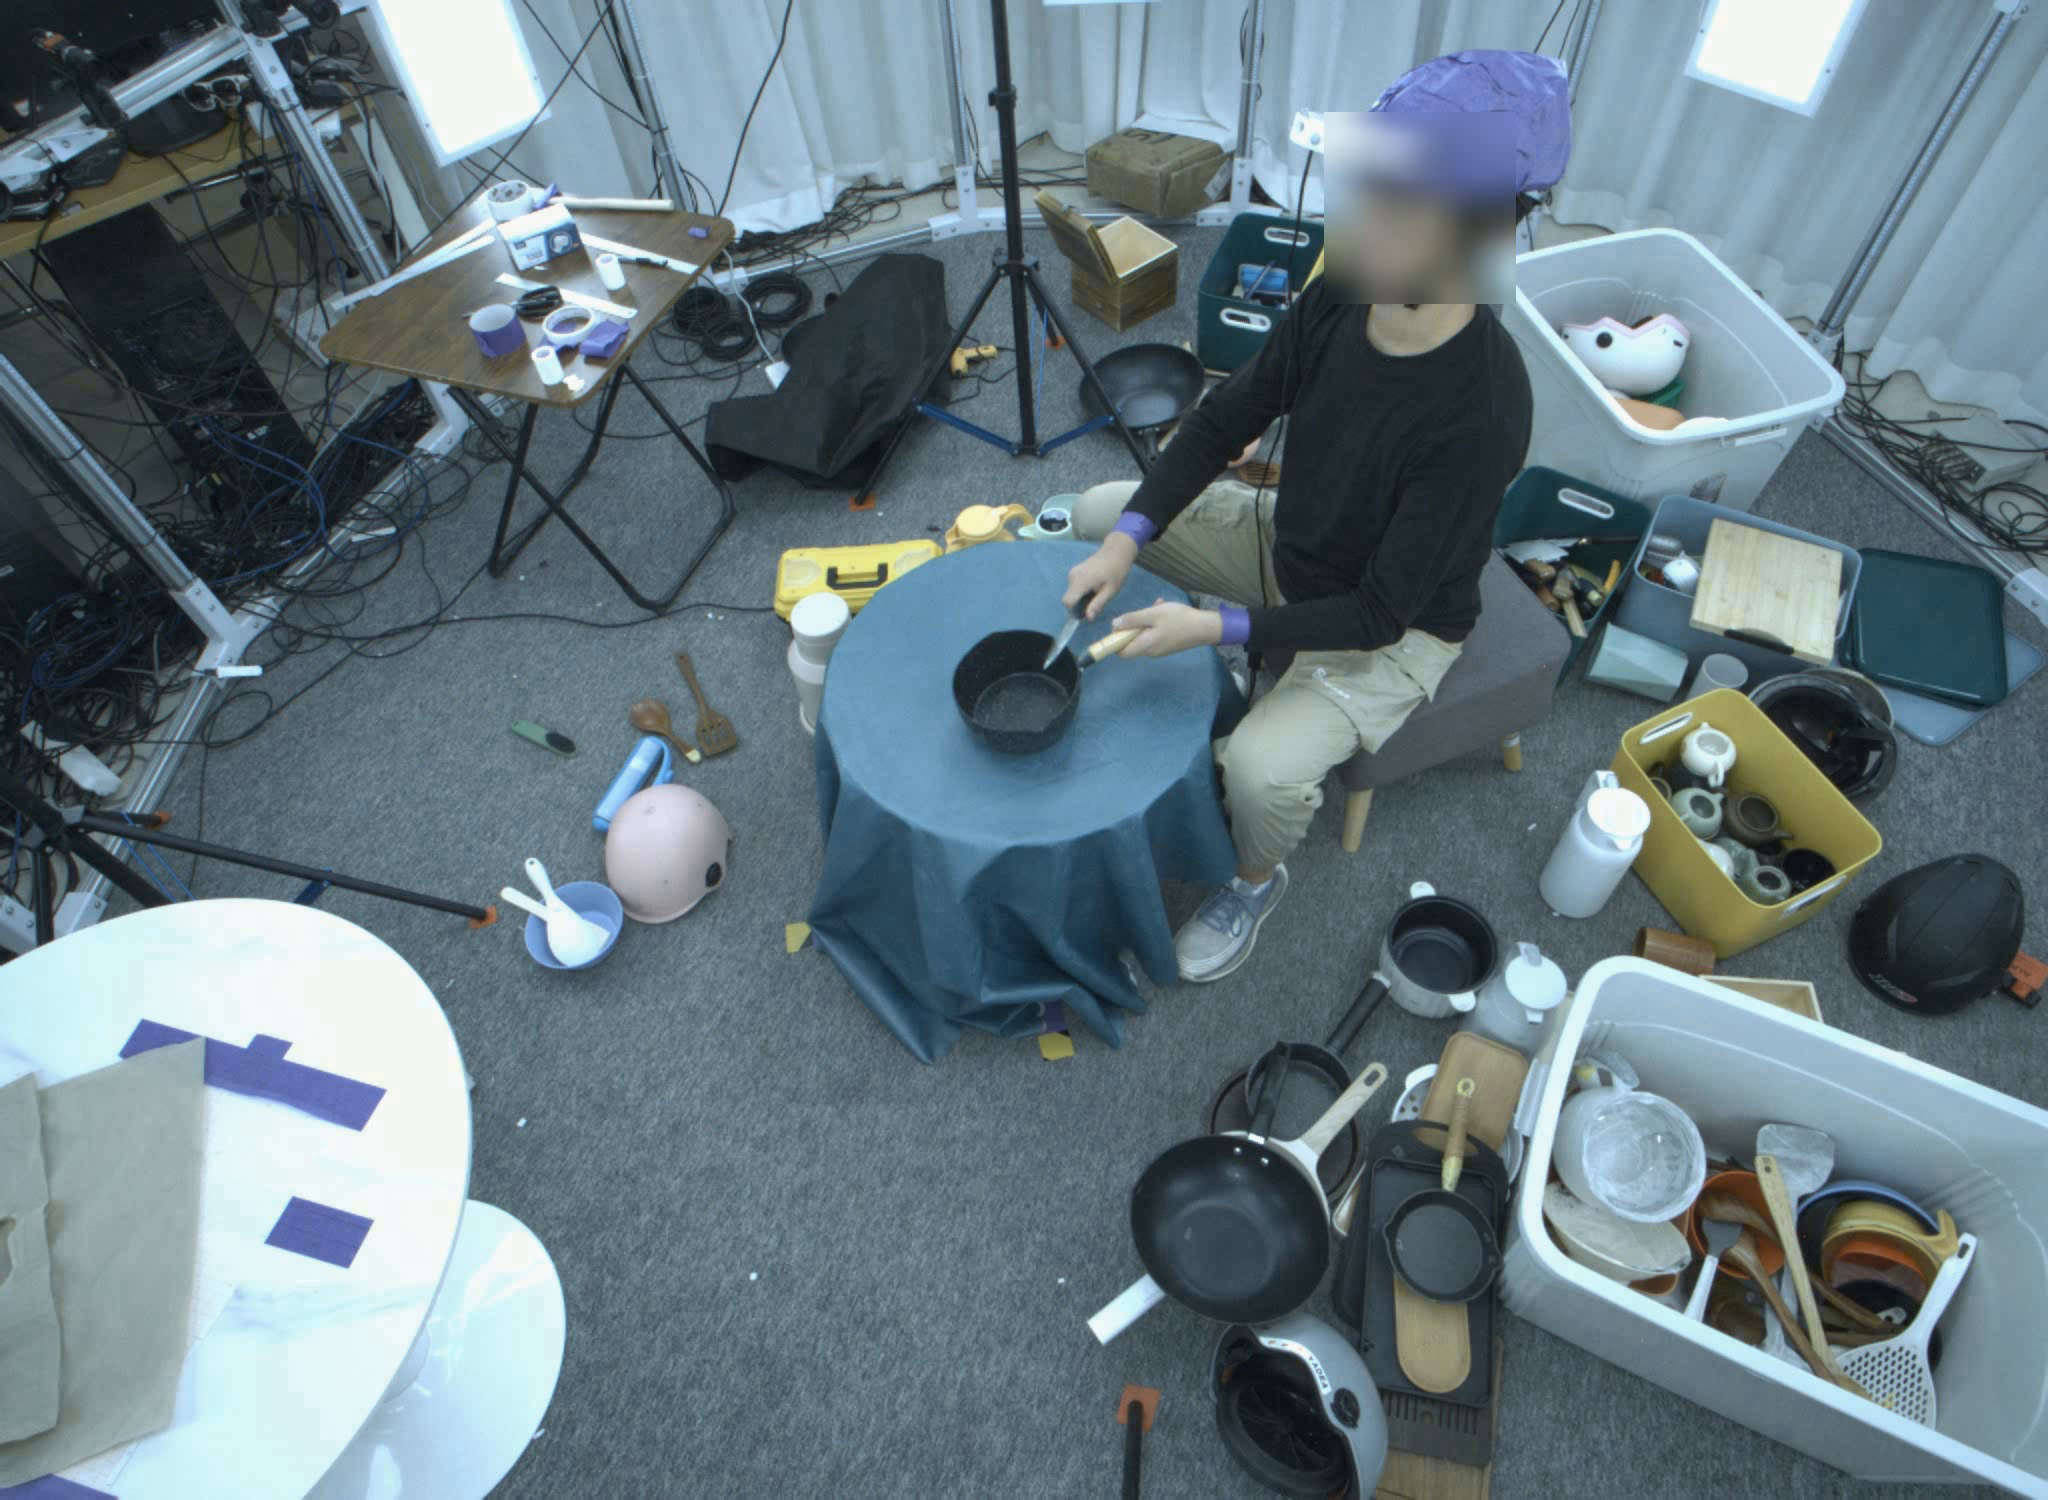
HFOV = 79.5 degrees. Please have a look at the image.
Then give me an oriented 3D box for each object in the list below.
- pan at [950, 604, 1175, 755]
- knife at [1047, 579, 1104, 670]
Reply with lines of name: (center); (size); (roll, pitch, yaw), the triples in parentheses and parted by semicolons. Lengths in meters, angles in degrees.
pan: (0.063, -0.115, 1.785); (0.344, 0.110, 0.203); (-24, 56, -8)
knife: (0.072, -0.185, 1.801); (0.024, 0.016, 0.238); (-6, 35, 30)
